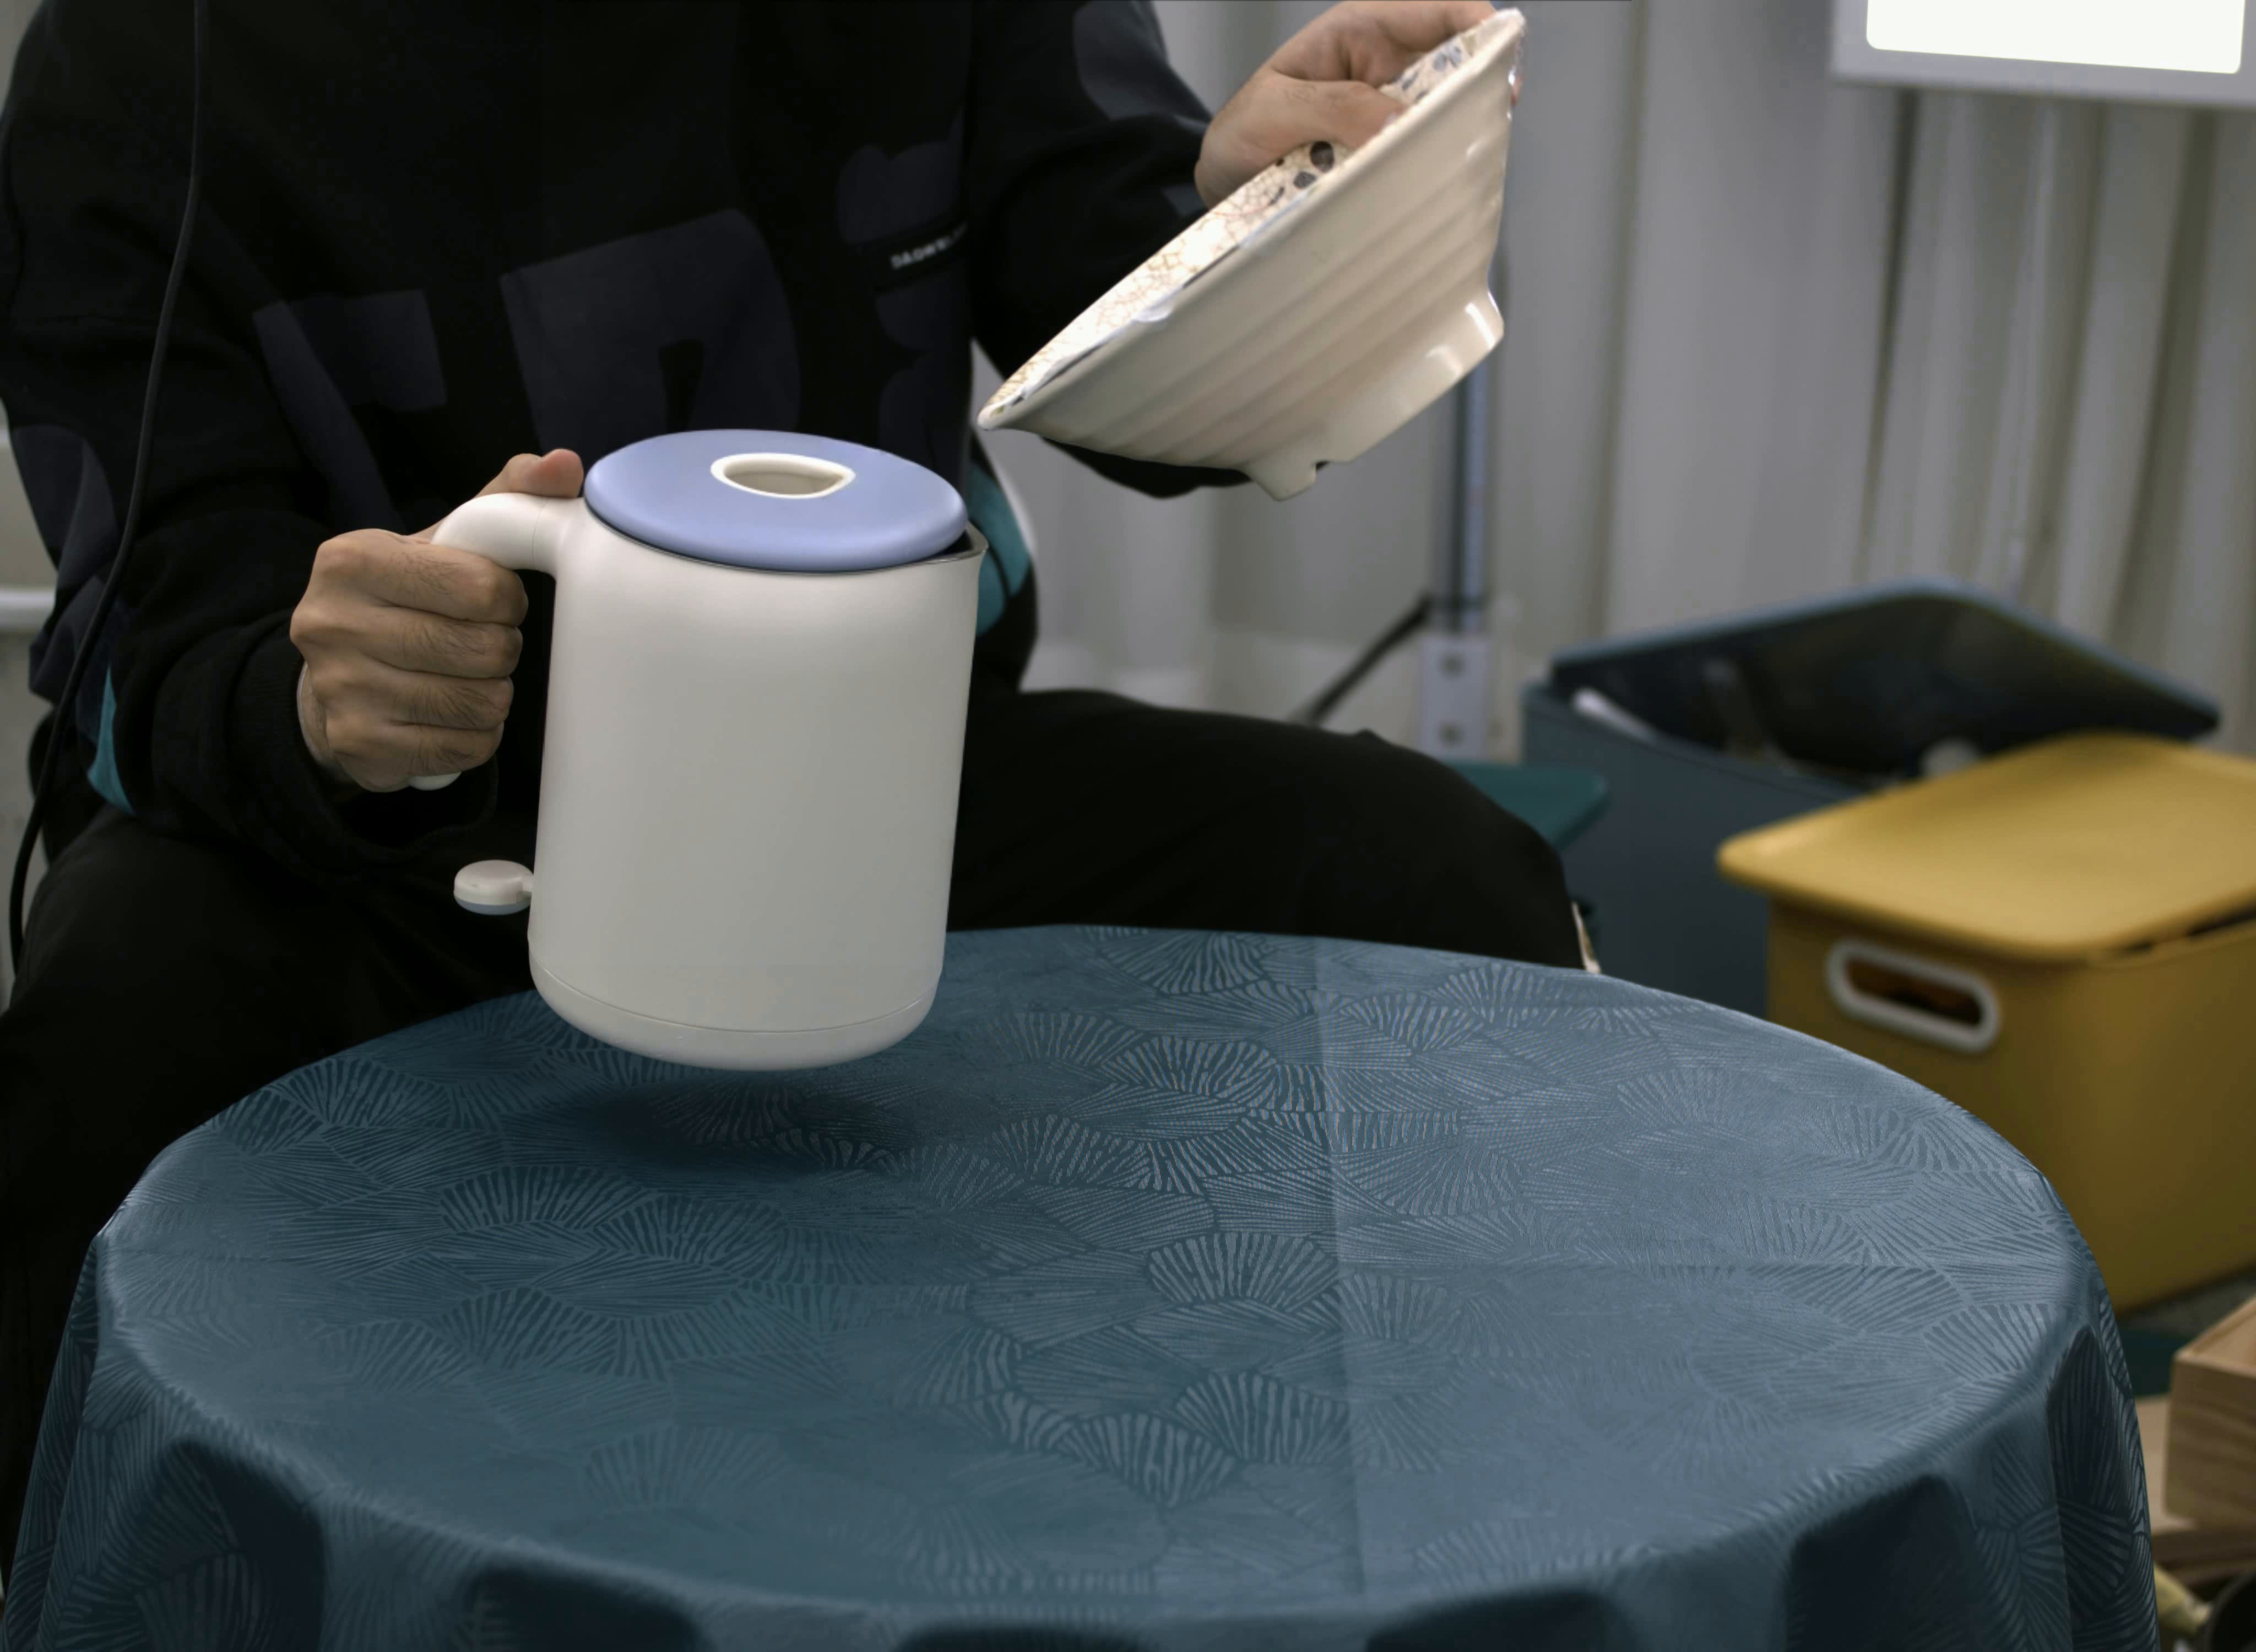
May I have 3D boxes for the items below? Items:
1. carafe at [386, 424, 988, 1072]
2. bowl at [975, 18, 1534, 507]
[{"bbox_3d":[-0.140,-0.029,1.640,0.190,0.184,0.132,8,20,11],"label":"carafe"},{"bbox_3d":[0.058,-0.152,1.574,0.204,0.078,0.203,-36,5,5],"label":"bowl"}]
